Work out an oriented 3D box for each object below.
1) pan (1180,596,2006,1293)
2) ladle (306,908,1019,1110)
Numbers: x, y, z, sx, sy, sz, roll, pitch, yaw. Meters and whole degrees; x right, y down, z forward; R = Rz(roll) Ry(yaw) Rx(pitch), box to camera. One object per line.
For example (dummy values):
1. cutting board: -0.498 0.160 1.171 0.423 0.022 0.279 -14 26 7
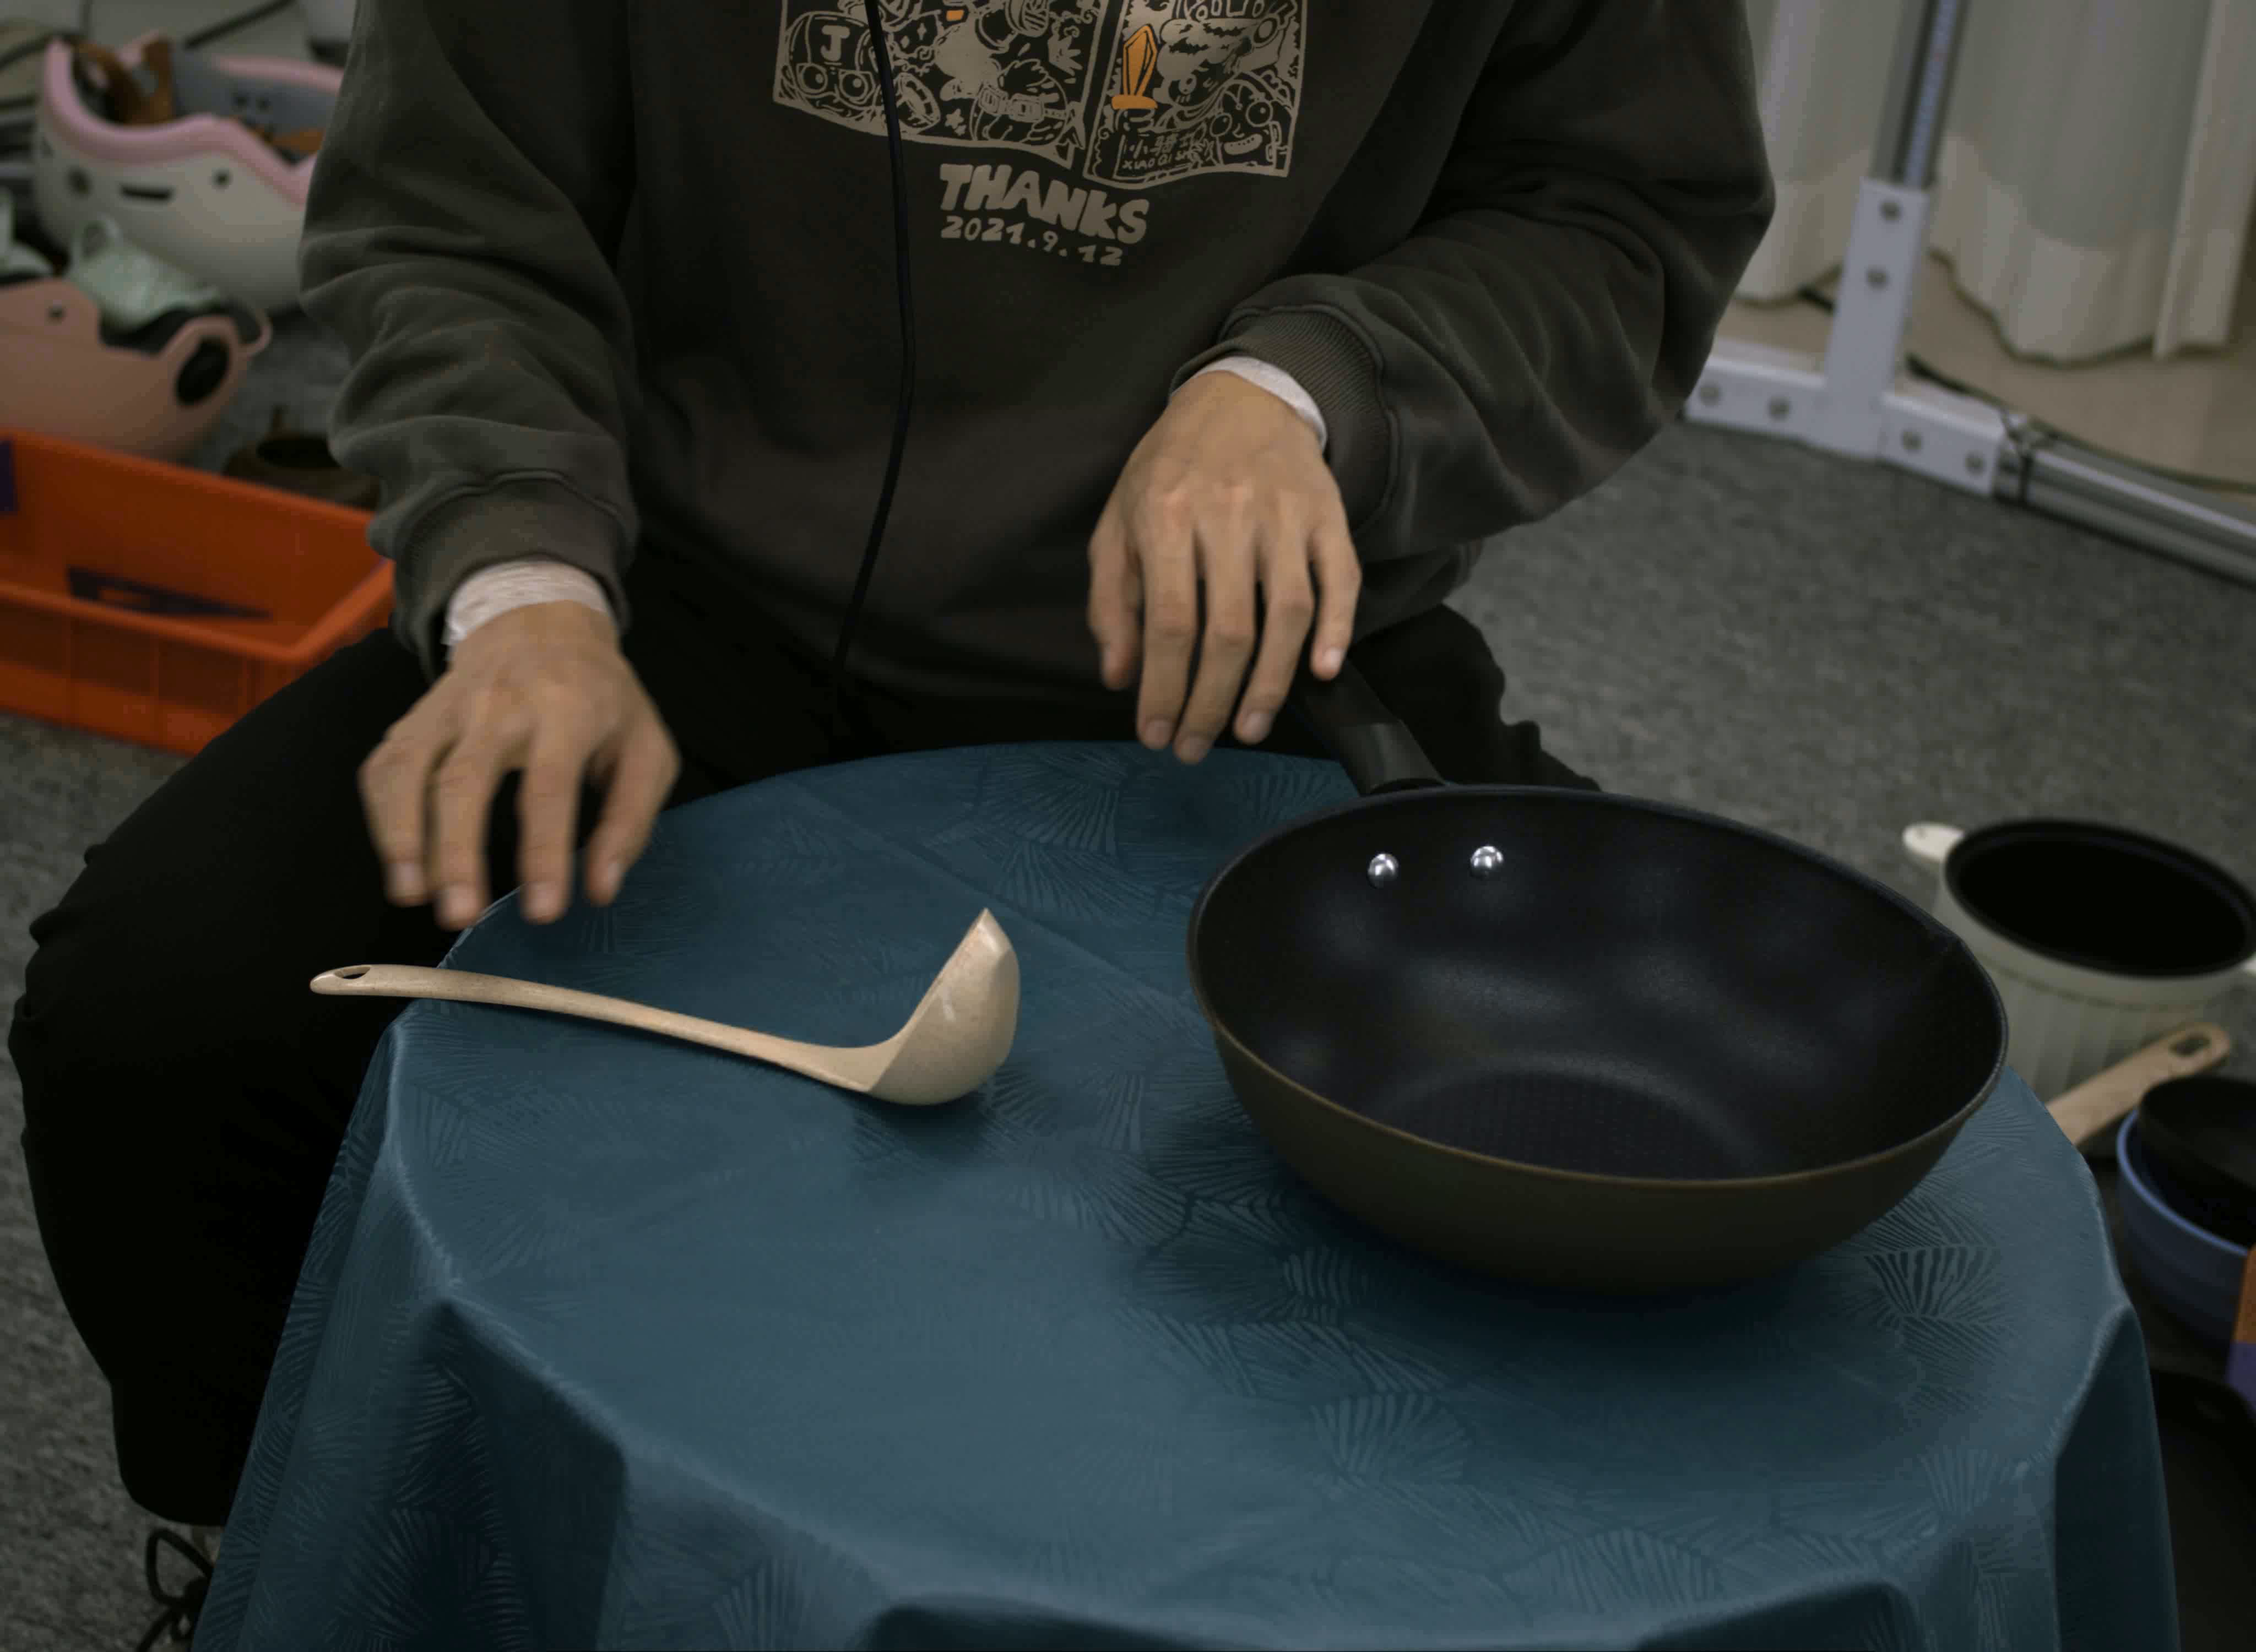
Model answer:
1. pan: 0.121 0.044 1.898 0.286 0.086 0.467 -5 27 -21
2. ladle: -0.164 0.046 1.847 0.254 0.072 0.072 9 30 8
